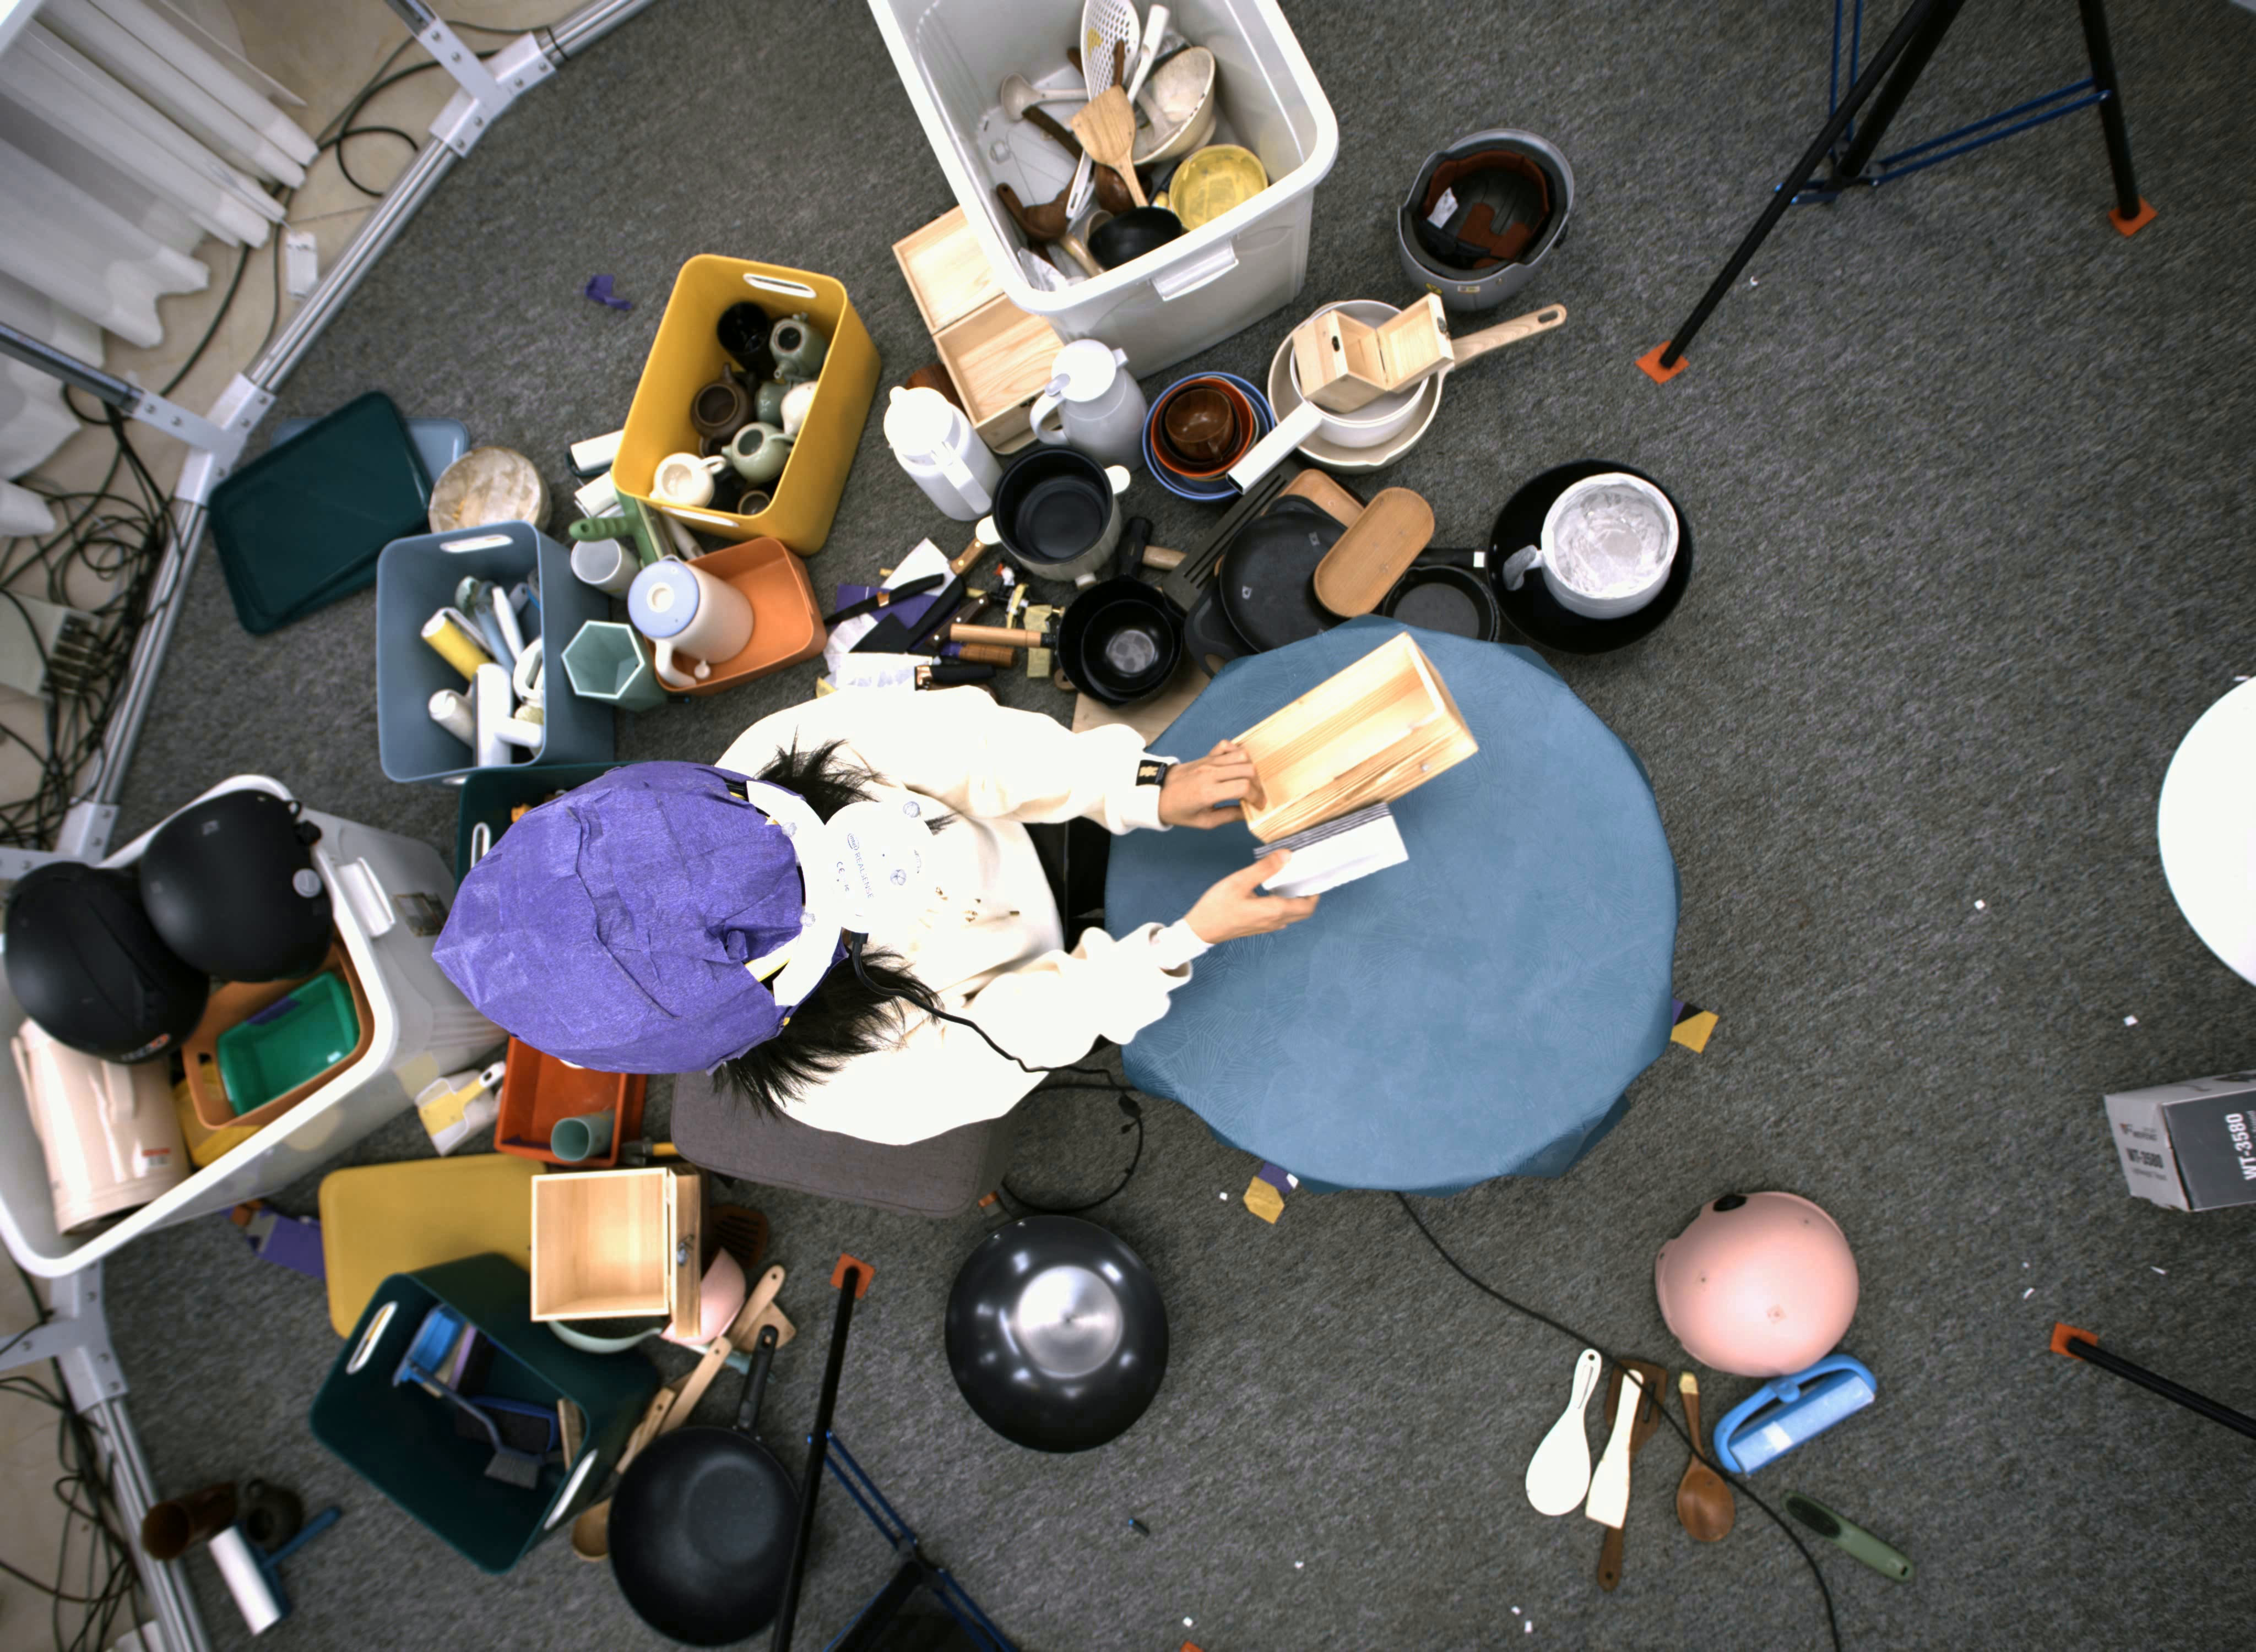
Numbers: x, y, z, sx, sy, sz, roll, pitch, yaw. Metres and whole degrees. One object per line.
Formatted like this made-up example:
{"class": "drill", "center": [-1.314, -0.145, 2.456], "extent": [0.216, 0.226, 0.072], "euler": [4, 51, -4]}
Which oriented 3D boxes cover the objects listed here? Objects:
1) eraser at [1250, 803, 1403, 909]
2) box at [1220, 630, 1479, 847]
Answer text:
{"class": "eraser", "center": [0.186, 0.028, 1.303], "extent": [0.135, 0.050, 0.045], "euler": [-24, 57, 14]}
{"class": "box", "center": [0.207, -0.076, 1.305], "extent": [0.214, 0.081, 0.105], "euler": [-33, 51, 20]}
